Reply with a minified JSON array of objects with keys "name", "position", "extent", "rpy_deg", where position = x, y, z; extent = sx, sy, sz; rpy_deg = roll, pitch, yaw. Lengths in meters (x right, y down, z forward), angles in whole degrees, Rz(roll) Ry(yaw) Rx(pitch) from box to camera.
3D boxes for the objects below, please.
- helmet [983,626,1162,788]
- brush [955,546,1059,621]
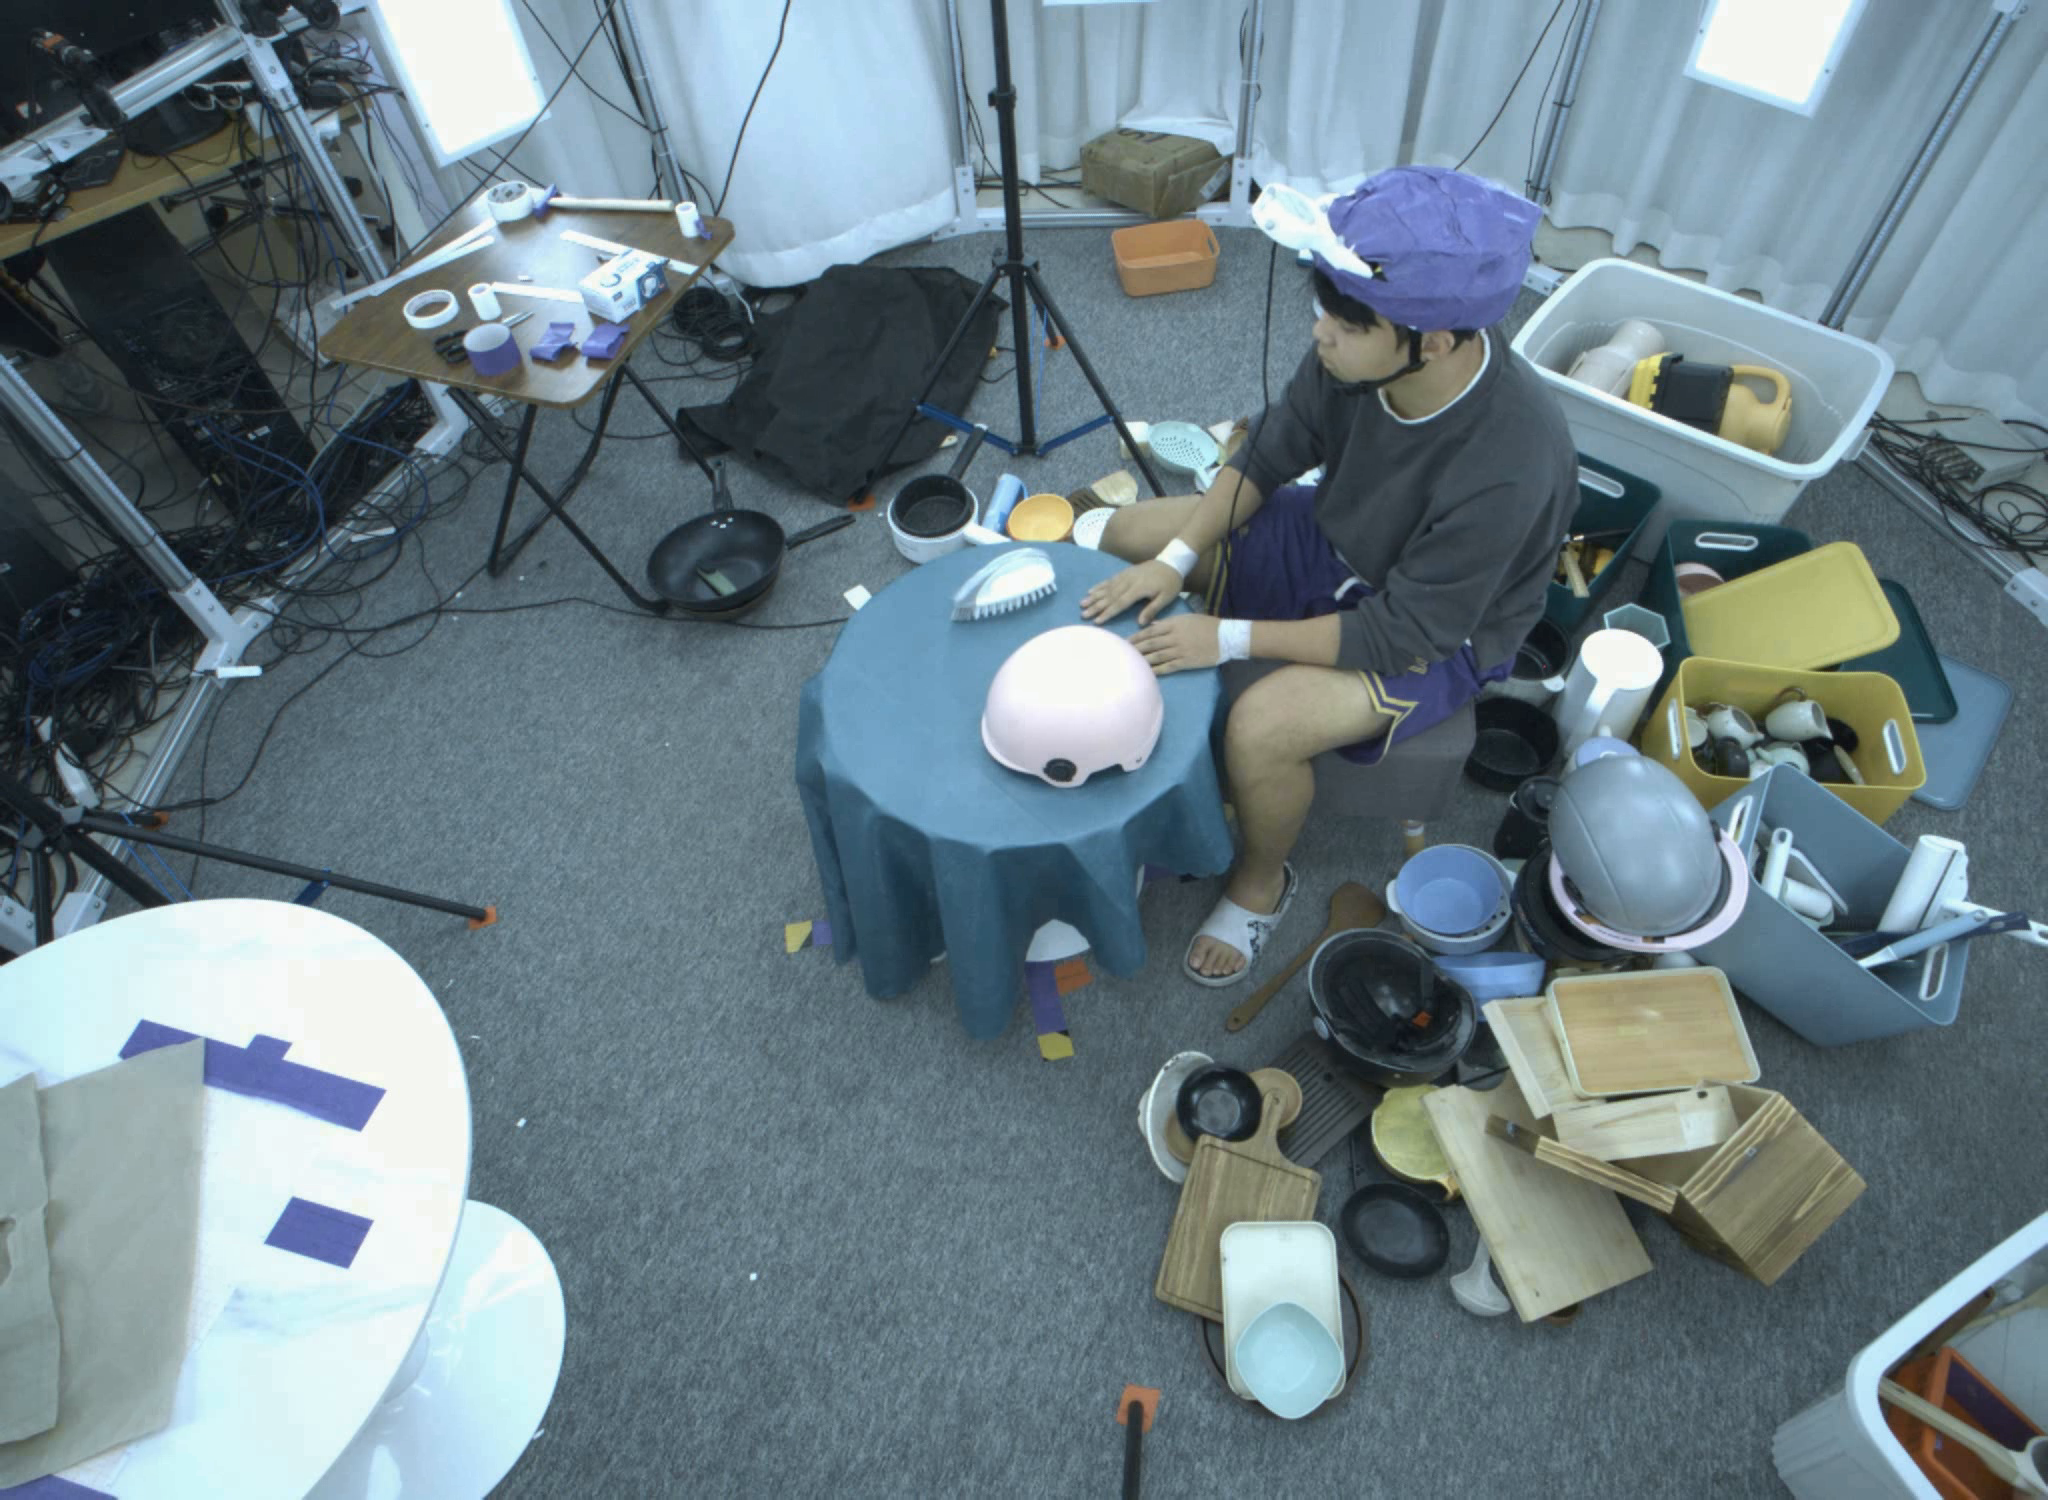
[{"name":"helmet","position":[0.062,-0.081,1.753],"extent":[0.266,0.161,0.231],"rpy_deg":[-9,55,1]},{"name":"brush","position":[-0.034,-0.264,1.923],"extent":[0.176,0.095,0.060],"rpy_deg":[-25,55,-12]}]
